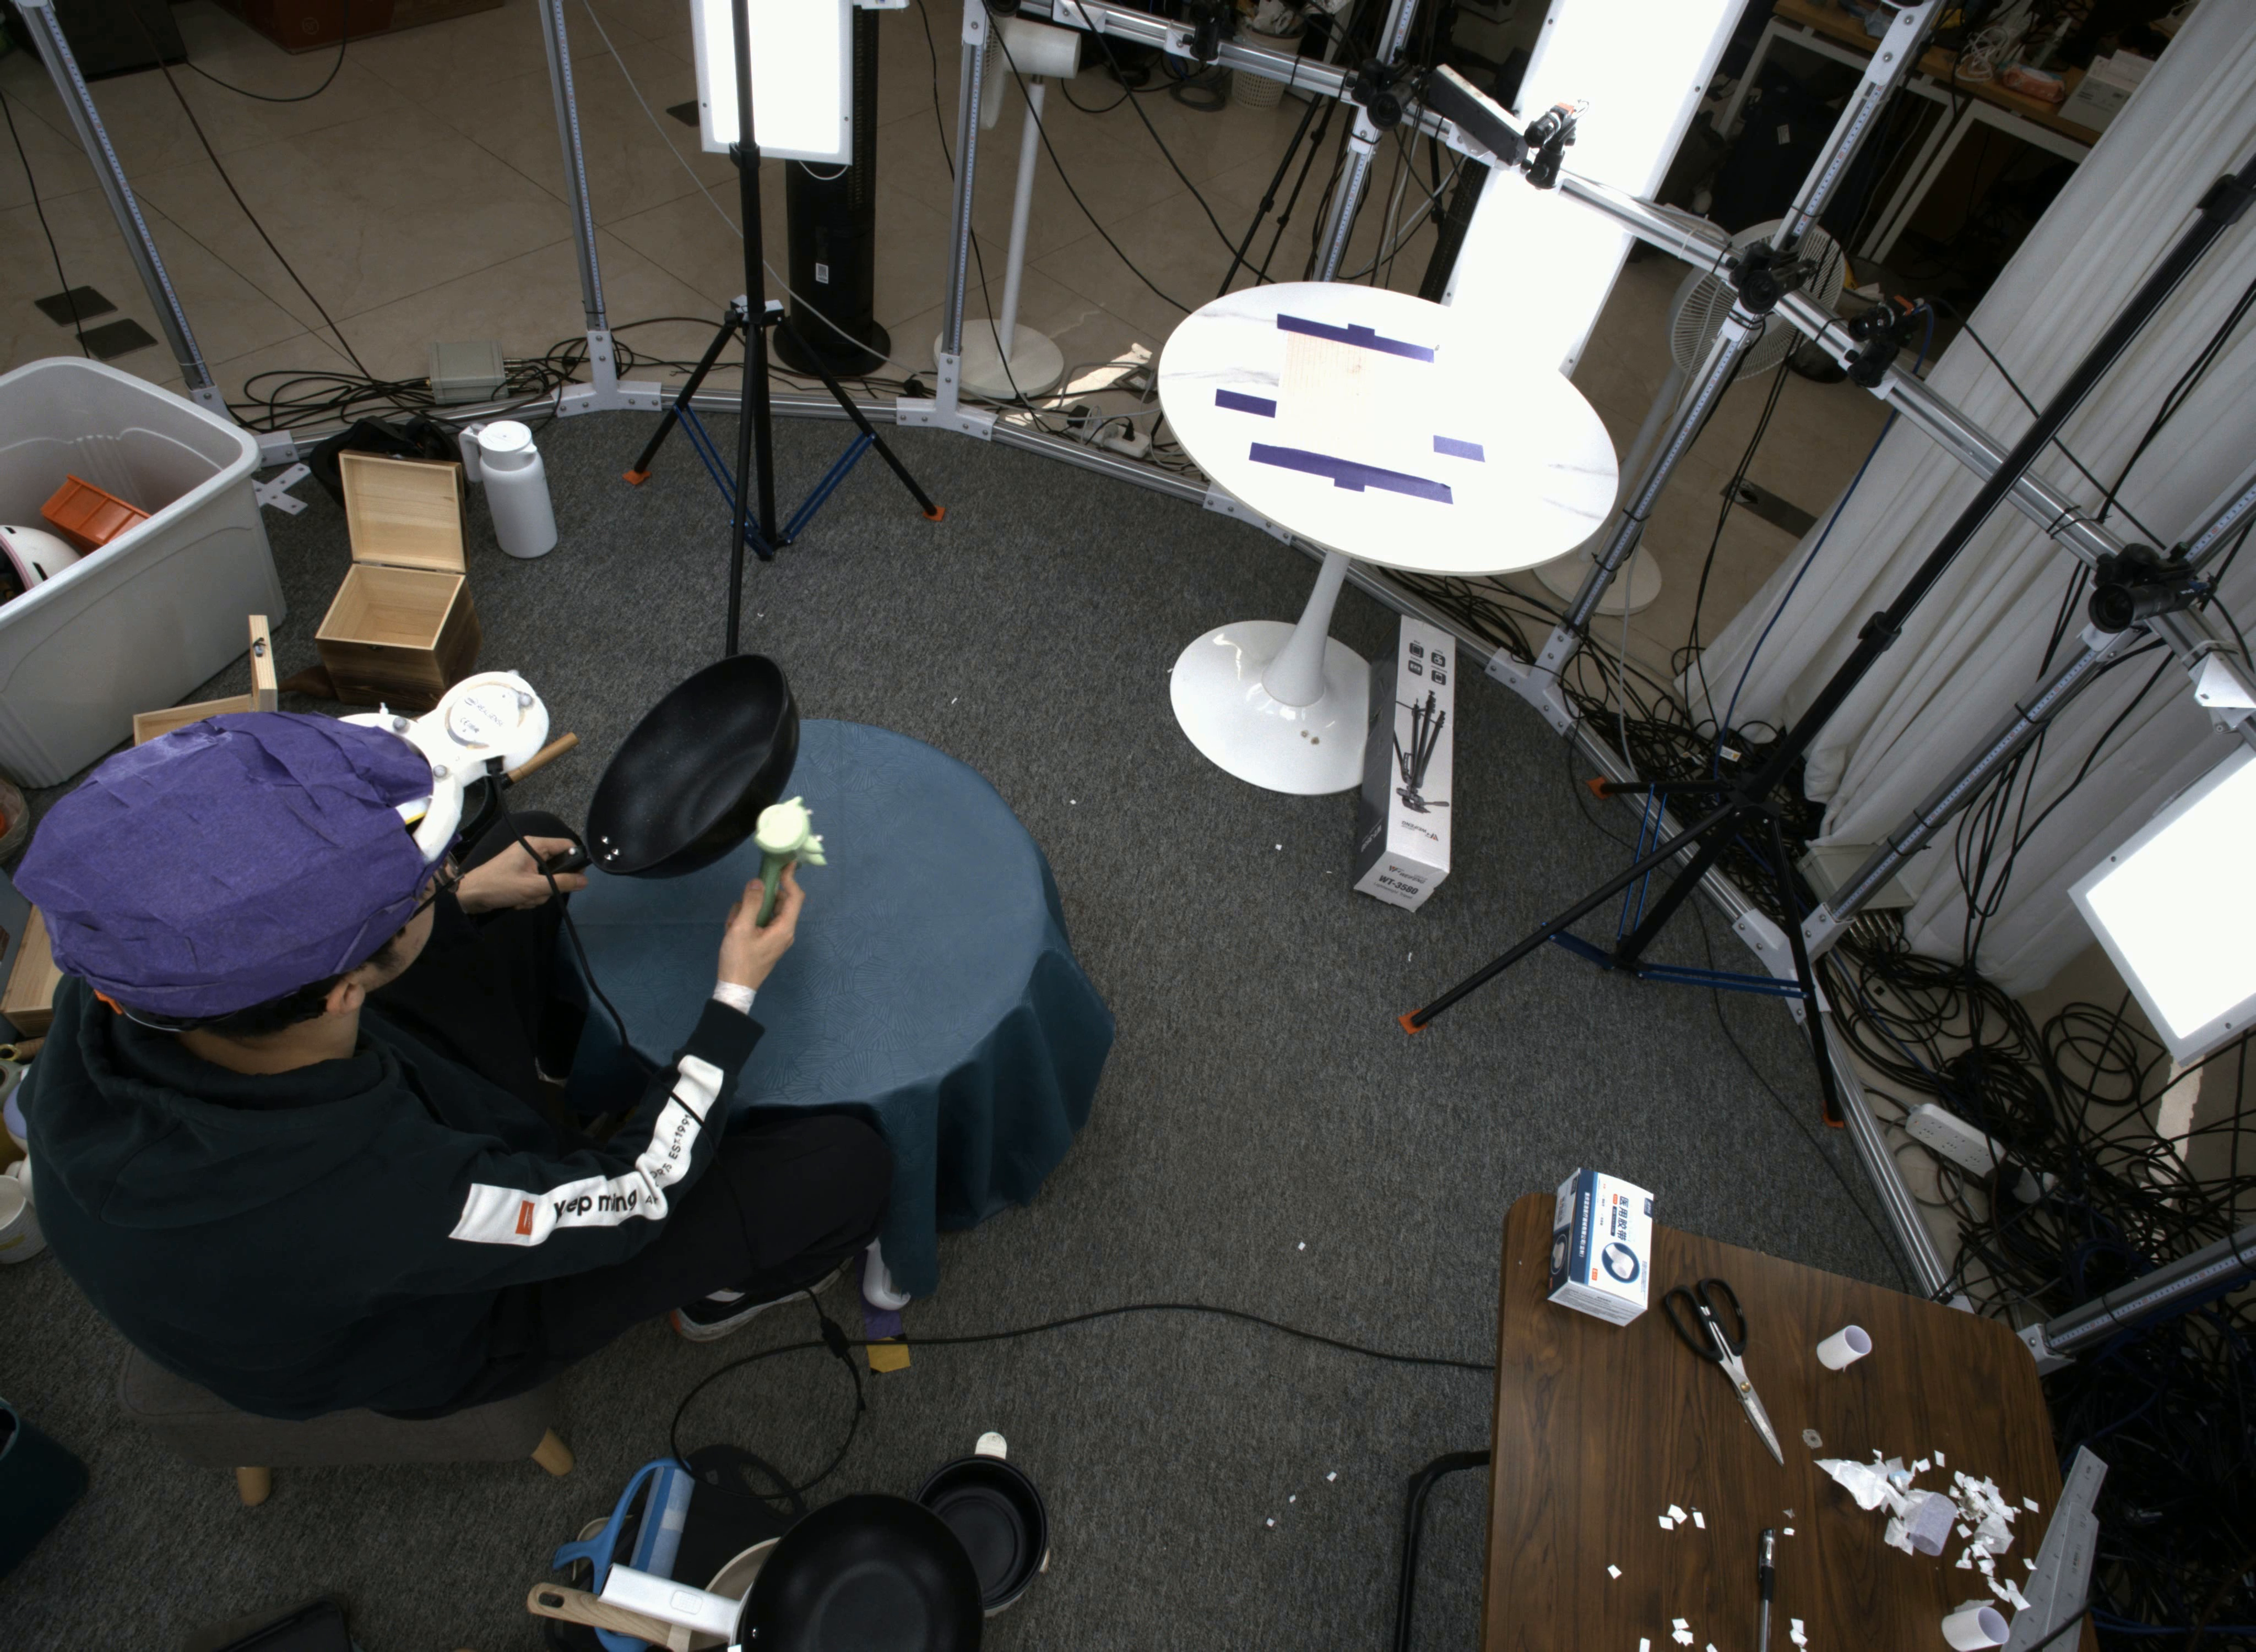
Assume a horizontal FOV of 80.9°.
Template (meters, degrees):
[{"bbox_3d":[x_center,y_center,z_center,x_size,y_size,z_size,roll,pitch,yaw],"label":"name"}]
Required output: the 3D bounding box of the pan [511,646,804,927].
[{"bbox_3d":[-0.553,-0.014,1.492,0.475,0.116,0.299,-40,42,3],"label":"pan"}]

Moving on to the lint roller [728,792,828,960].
[{"bbox_3d":[-0.389,0.064,1.453,0.082,0.197,0.184,13,81,-9],"label":"lint roller"}]
